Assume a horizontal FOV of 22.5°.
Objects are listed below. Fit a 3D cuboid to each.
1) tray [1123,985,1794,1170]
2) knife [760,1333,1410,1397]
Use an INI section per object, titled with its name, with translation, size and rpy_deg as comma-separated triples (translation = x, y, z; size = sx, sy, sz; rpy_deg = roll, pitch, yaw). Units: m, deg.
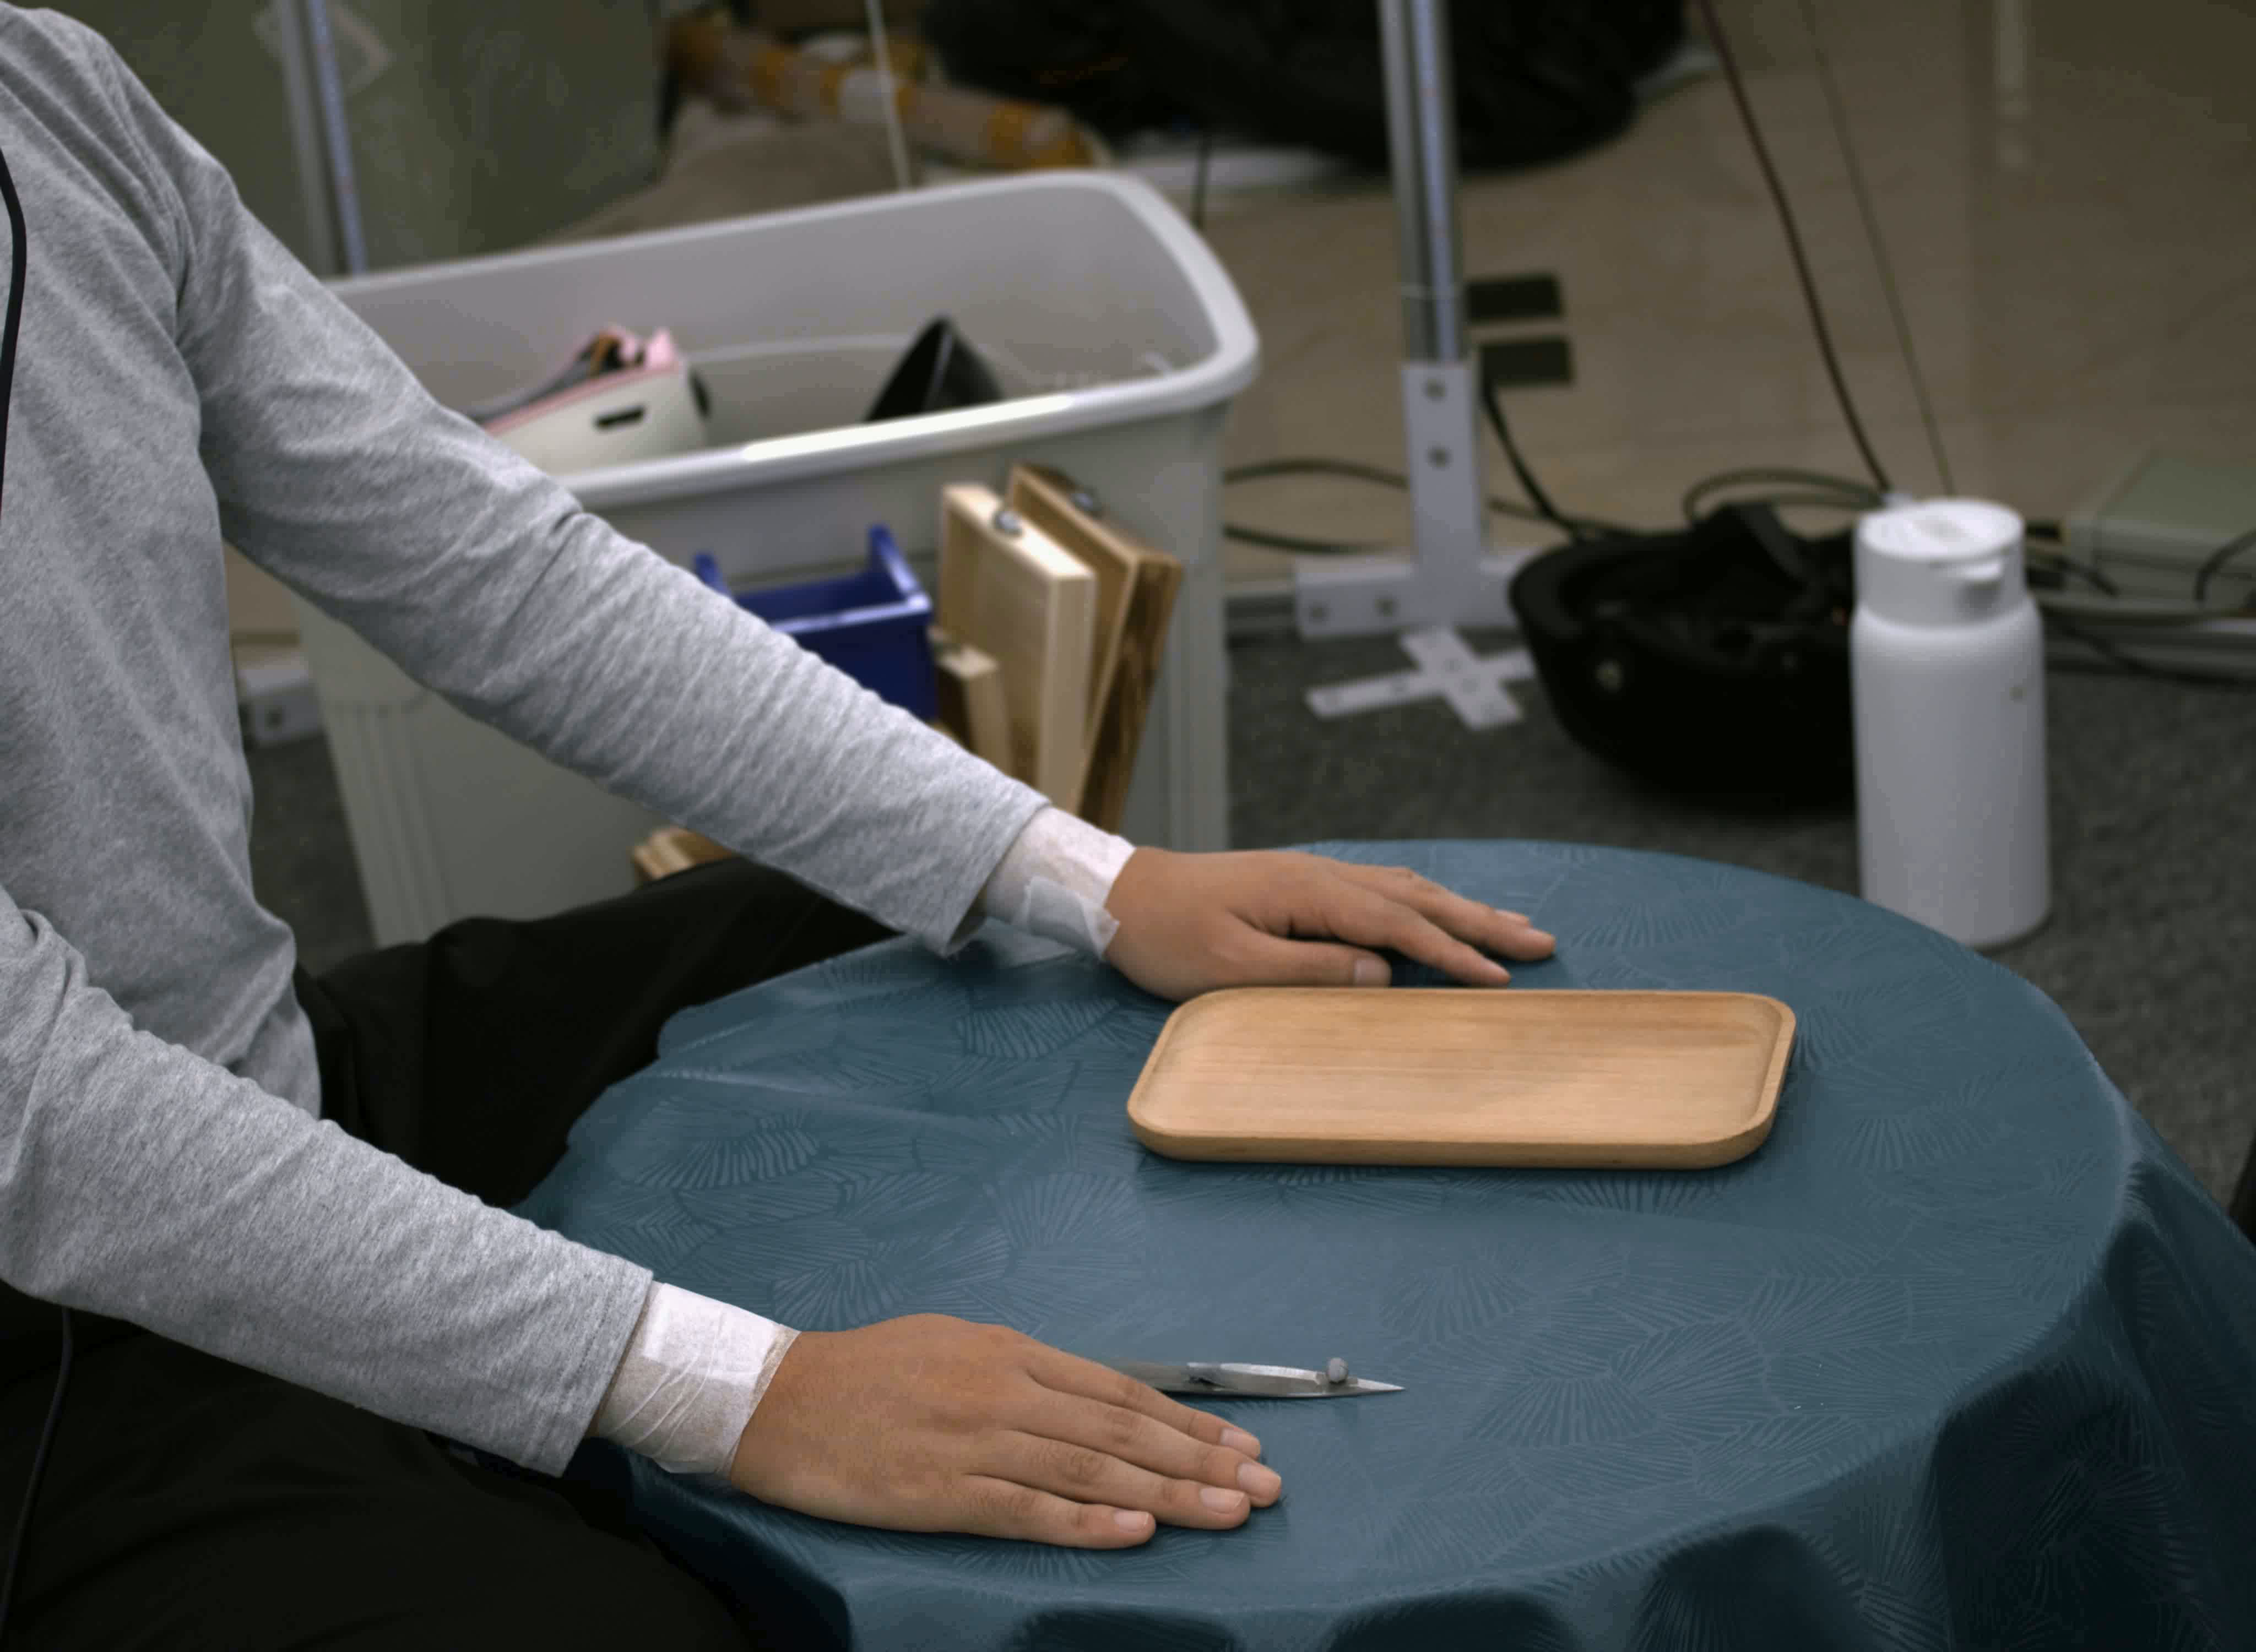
[tray]
translation = 0.128, 0.097, 2.191
size = 0.250, 0.023, 0.129
rpy_deg = 0, 23, 16
[knife]
translation = -0.018, 0.195, 2.023
size = 0.237, 0.016, 0.024
rpy_deg = 1, 26, 11
